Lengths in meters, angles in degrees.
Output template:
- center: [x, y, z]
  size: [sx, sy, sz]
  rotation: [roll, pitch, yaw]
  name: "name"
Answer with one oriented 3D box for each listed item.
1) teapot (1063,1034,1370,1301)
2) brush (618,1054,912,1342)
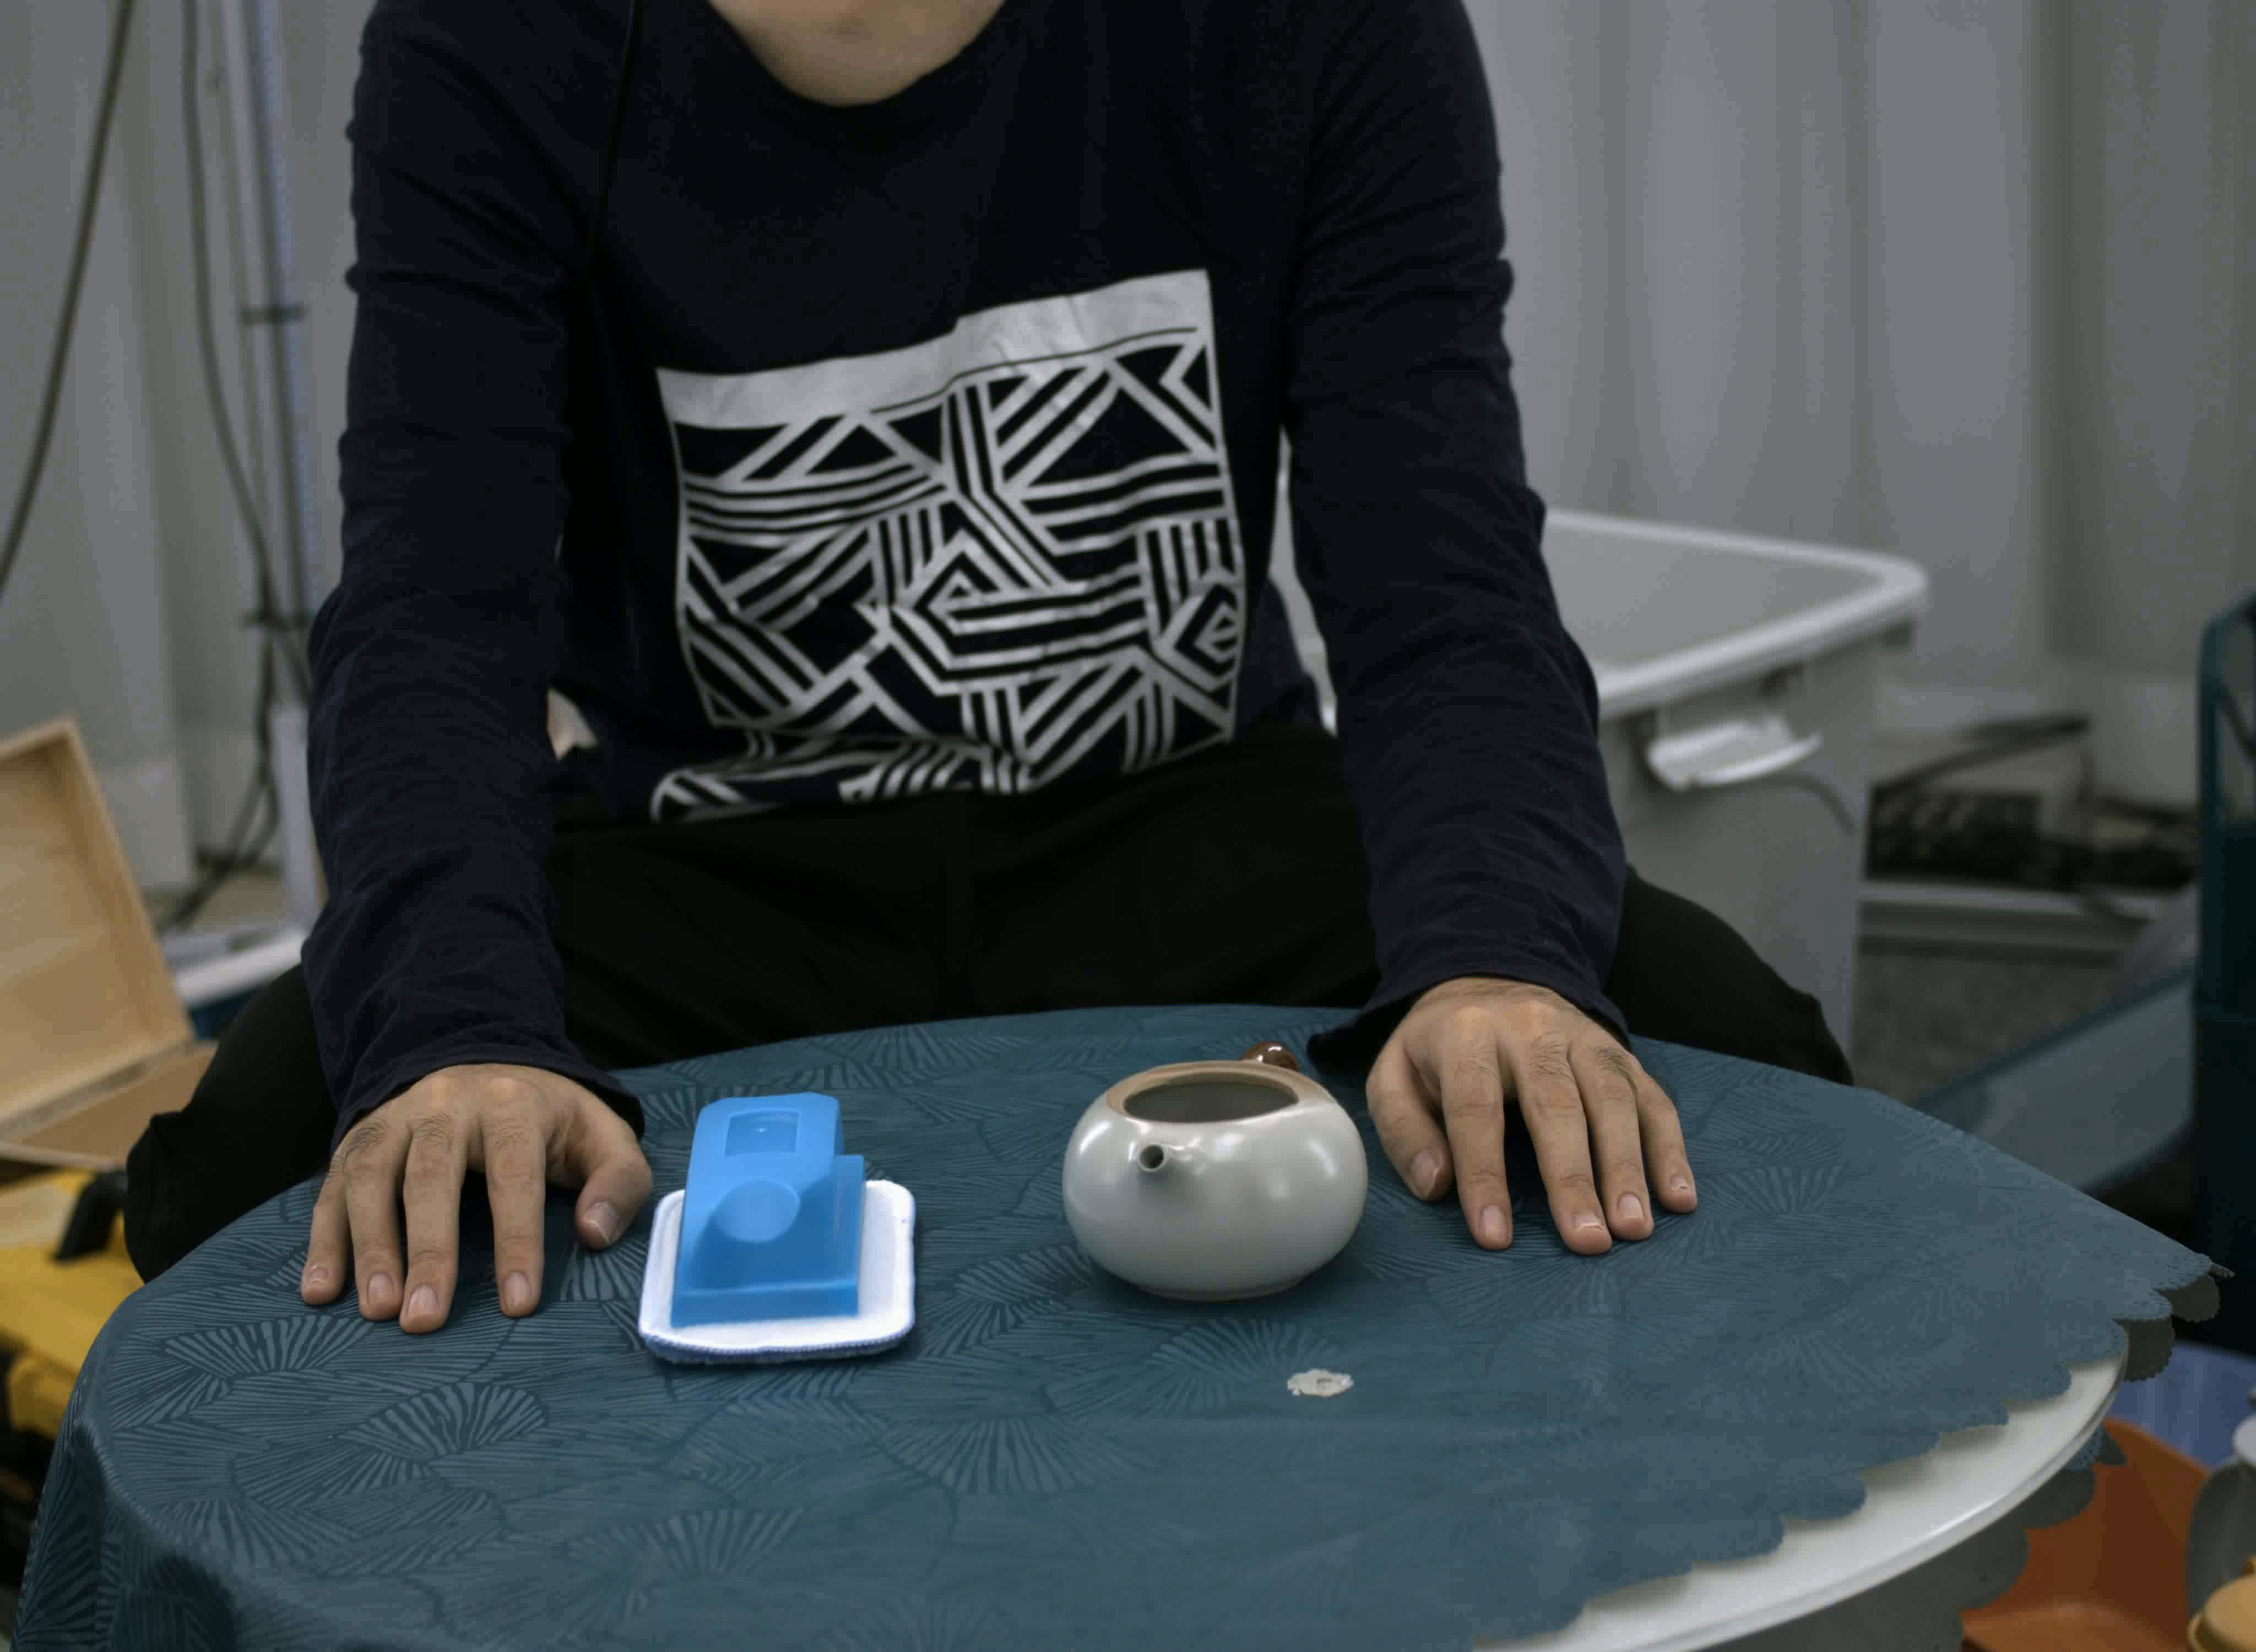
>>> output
- center: [0.029, 0.102, 1.640]
  size: [0.092, 0.059, 0.128]
  rotation: [-1, 16, 18]
  name: "teapot"
- center: [-0.108, 0.108, 1.641]
  size: [0.083, 0.055, 0.145]
  rotation: [0, 17, 0]
  name: "brush"
